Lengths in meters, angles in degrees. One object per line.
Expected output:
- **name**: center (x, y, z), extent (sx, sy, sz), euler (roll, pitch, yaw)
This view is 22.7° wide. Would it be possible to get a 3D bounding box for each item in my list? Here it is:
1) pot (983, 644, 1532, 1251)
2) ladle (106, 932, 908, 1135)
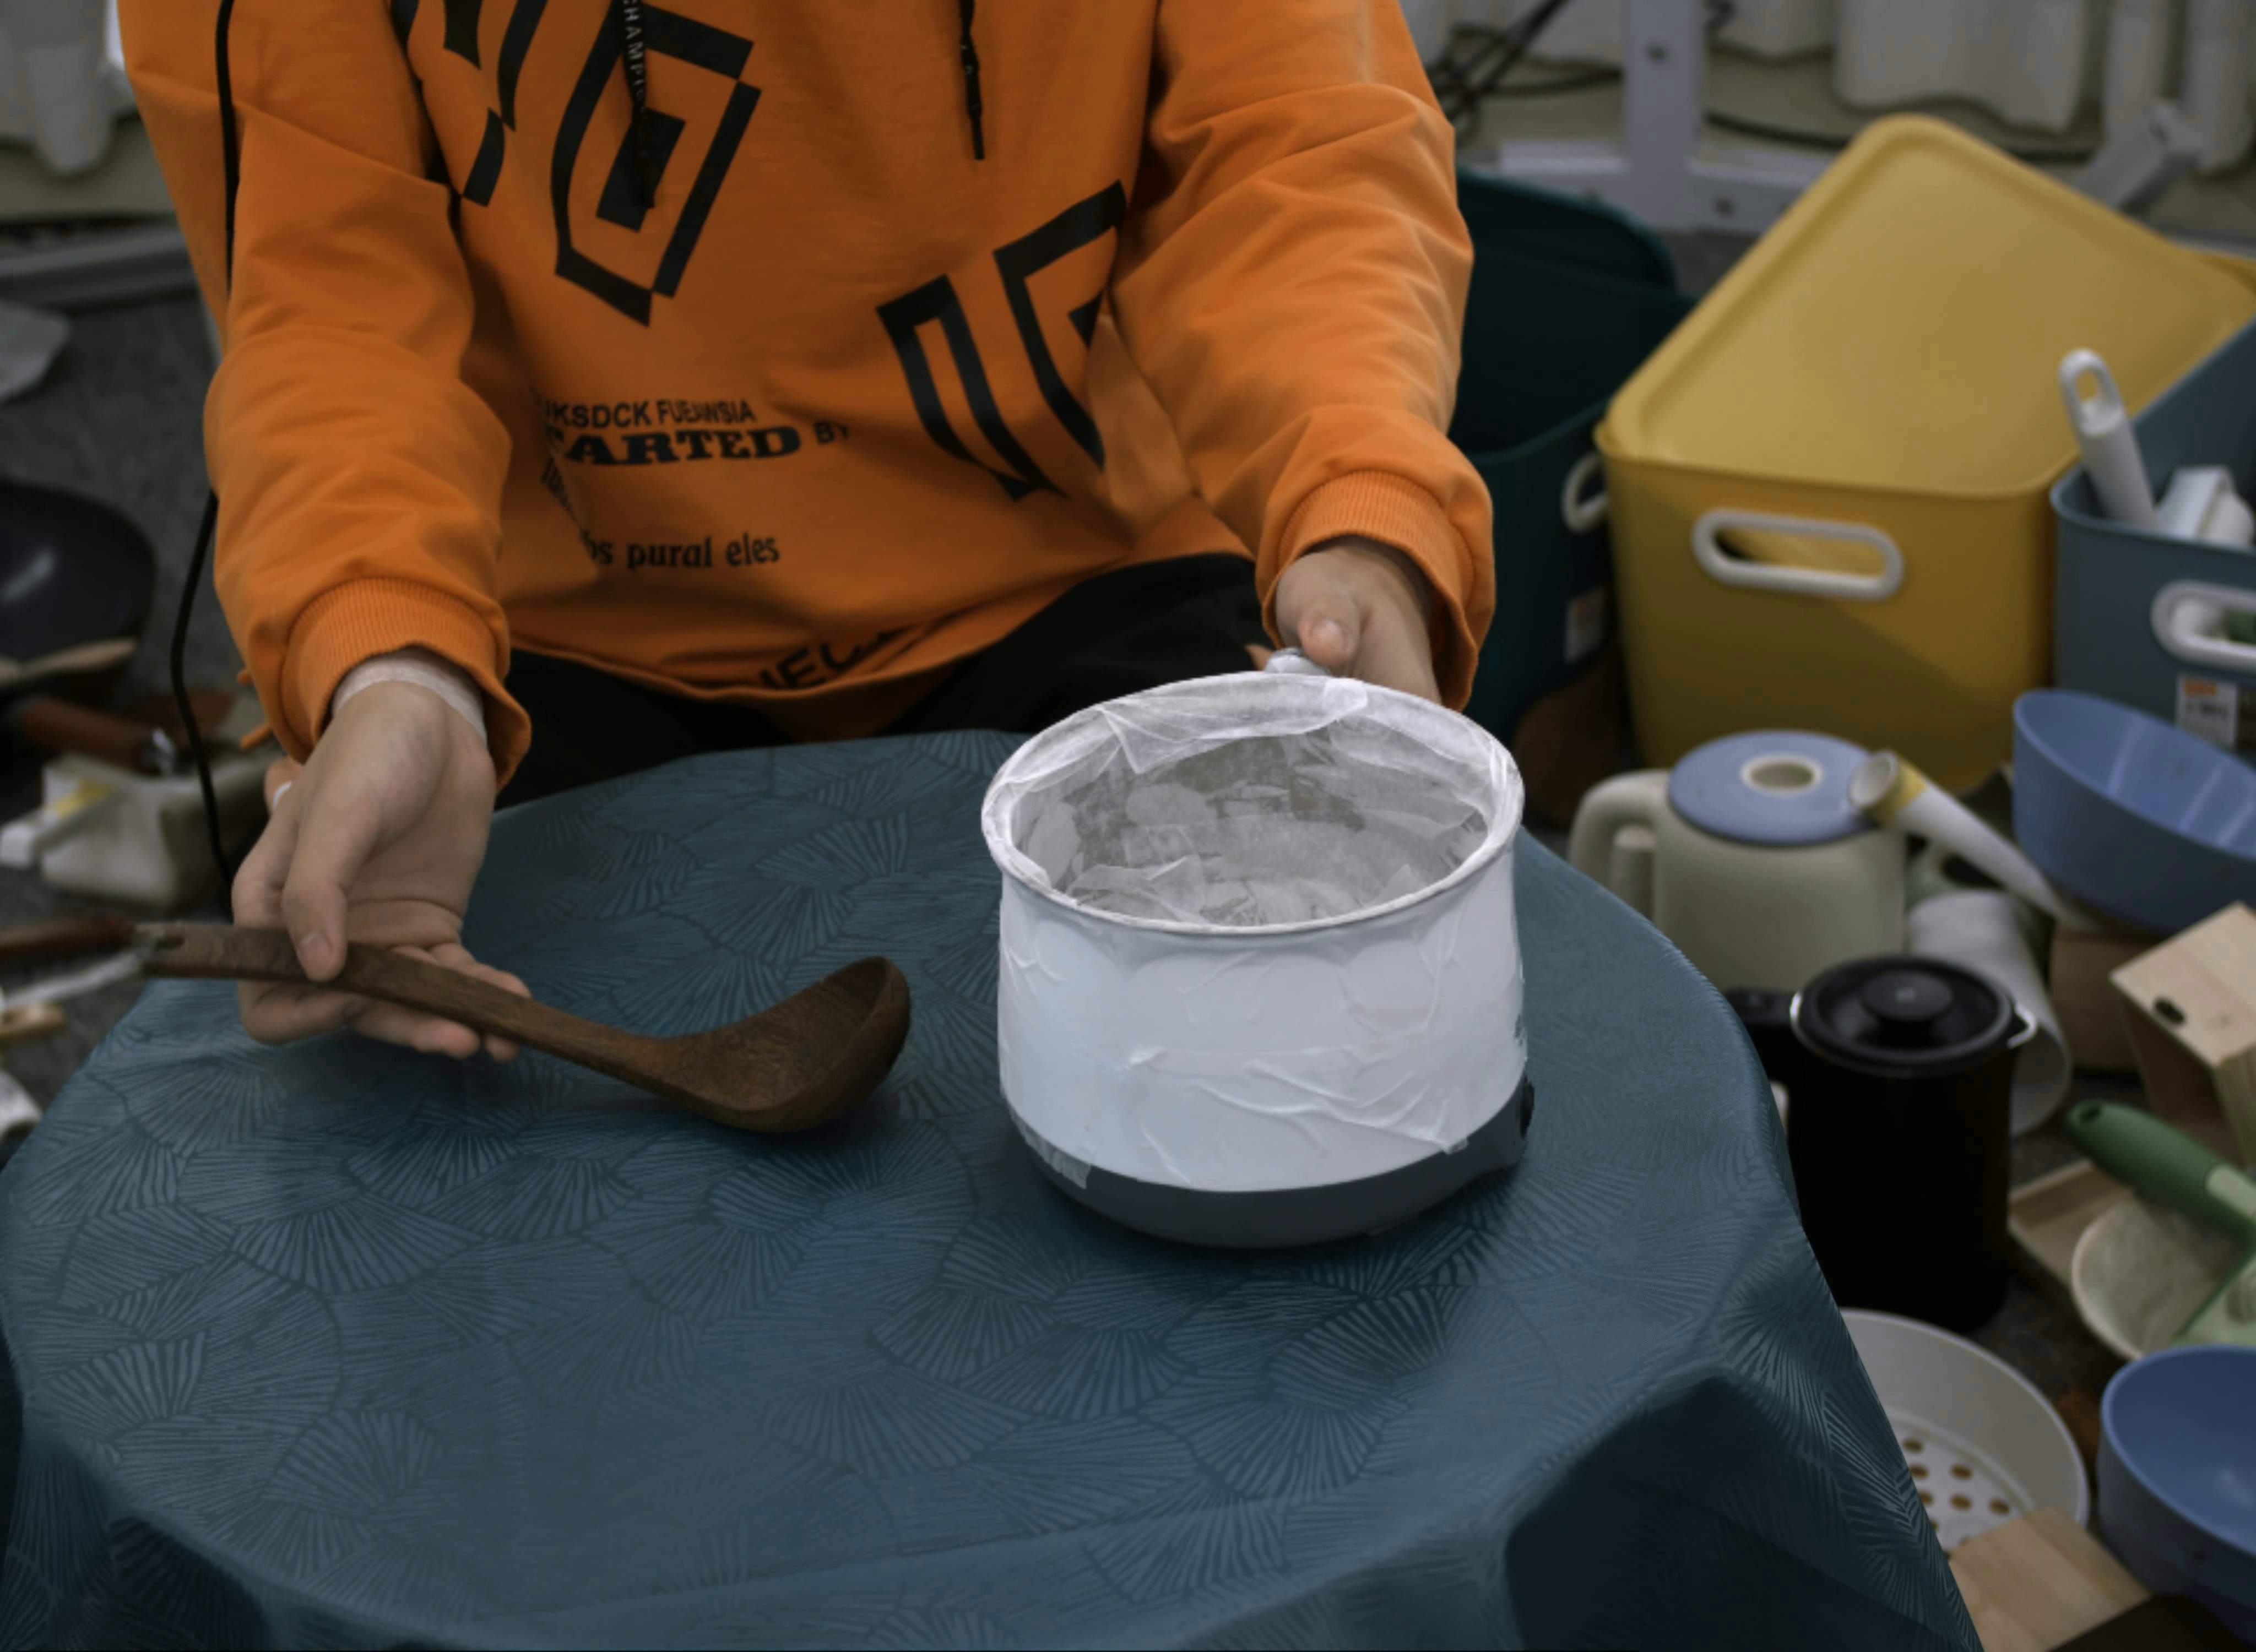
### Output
- **pot**: center (0.047, 0.033, 1.880), extent (0.177, 0.135, 0.237), euler (2, 28, 8)
- **ladle**: center (-0.210, 0.051, 1.908), extent (0.273, 0.070, 0.077), euler (13, 30, 2)
